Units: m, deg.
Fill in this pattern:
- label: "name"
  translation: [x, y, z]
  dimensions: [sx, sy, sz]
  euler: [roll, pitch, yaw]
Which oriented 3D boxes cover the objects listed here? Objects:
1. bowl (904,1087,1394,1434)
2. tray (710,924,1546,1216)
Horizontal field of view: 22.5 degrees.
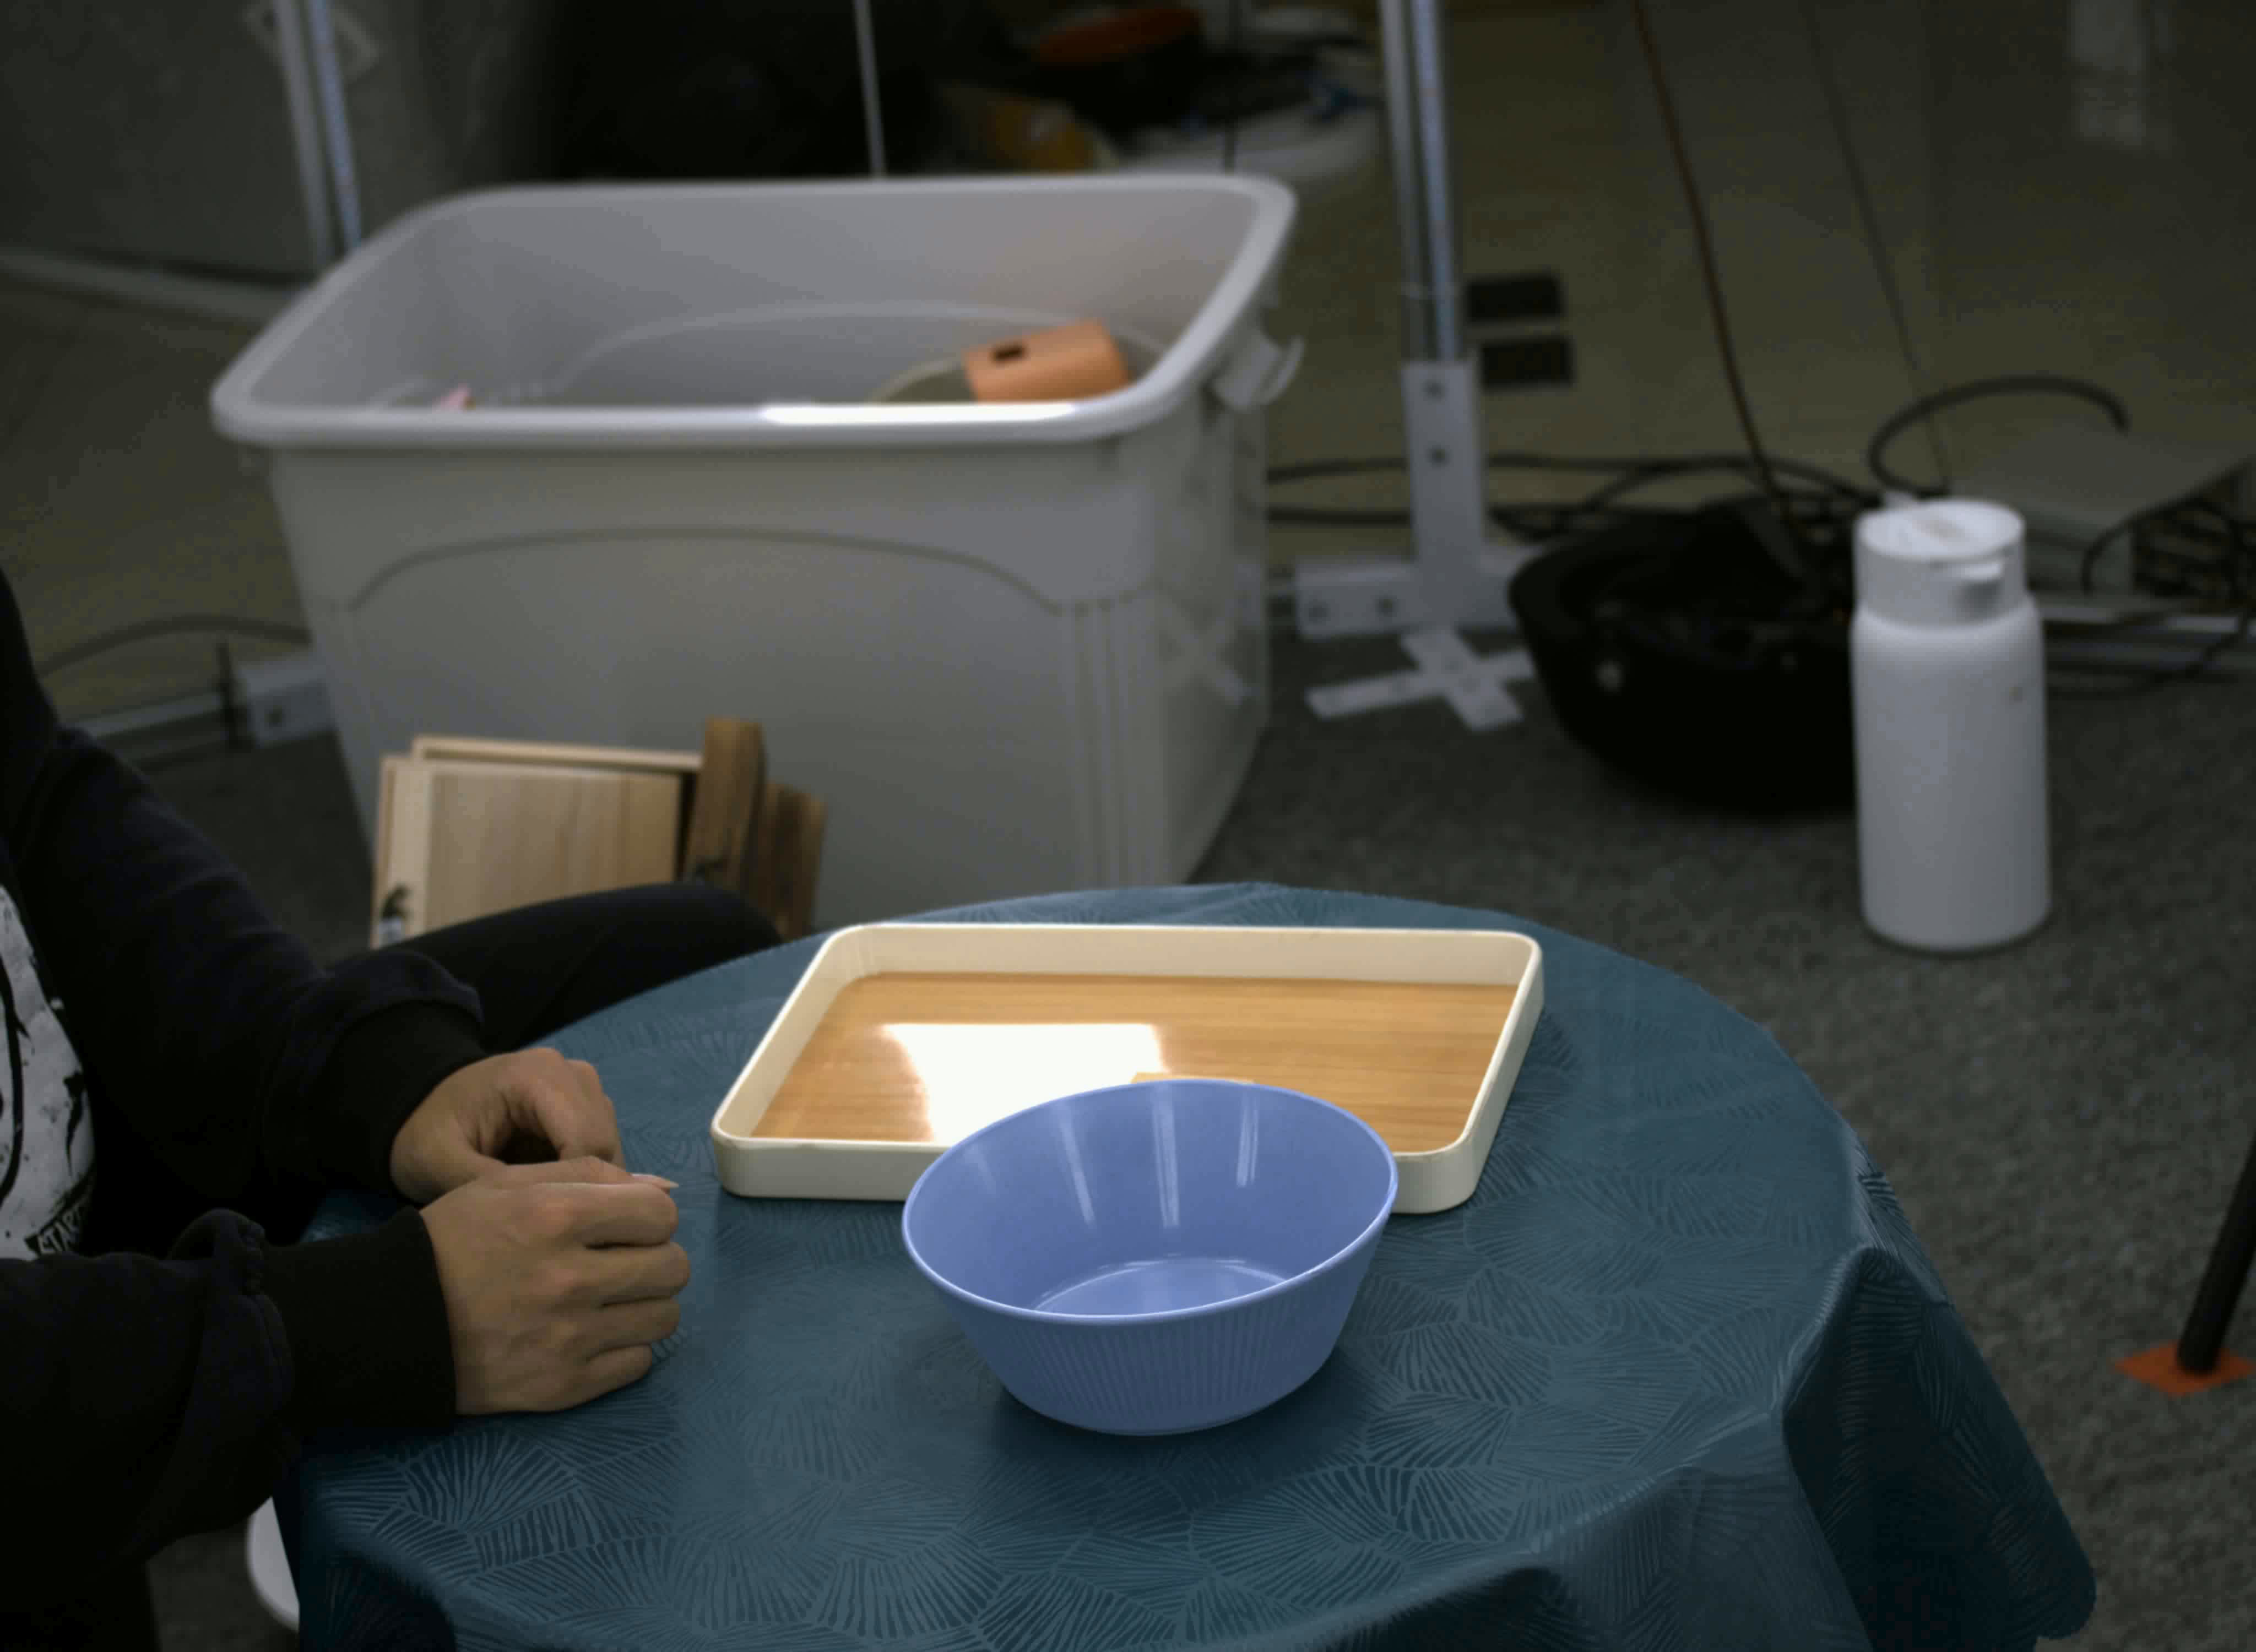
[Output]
- label: "bowl"
  translation: [0.010, 0.160, 2.019]
  dimensions: [0.176, 0.071, 0.173]
  euler: [-5, 24, 2]
- label: "tray"
  translation: [0.003, 0.094, 2.219]
  dimensions: [0.299, 0.028, 0.189]
  euler: [1, 26, 15]
